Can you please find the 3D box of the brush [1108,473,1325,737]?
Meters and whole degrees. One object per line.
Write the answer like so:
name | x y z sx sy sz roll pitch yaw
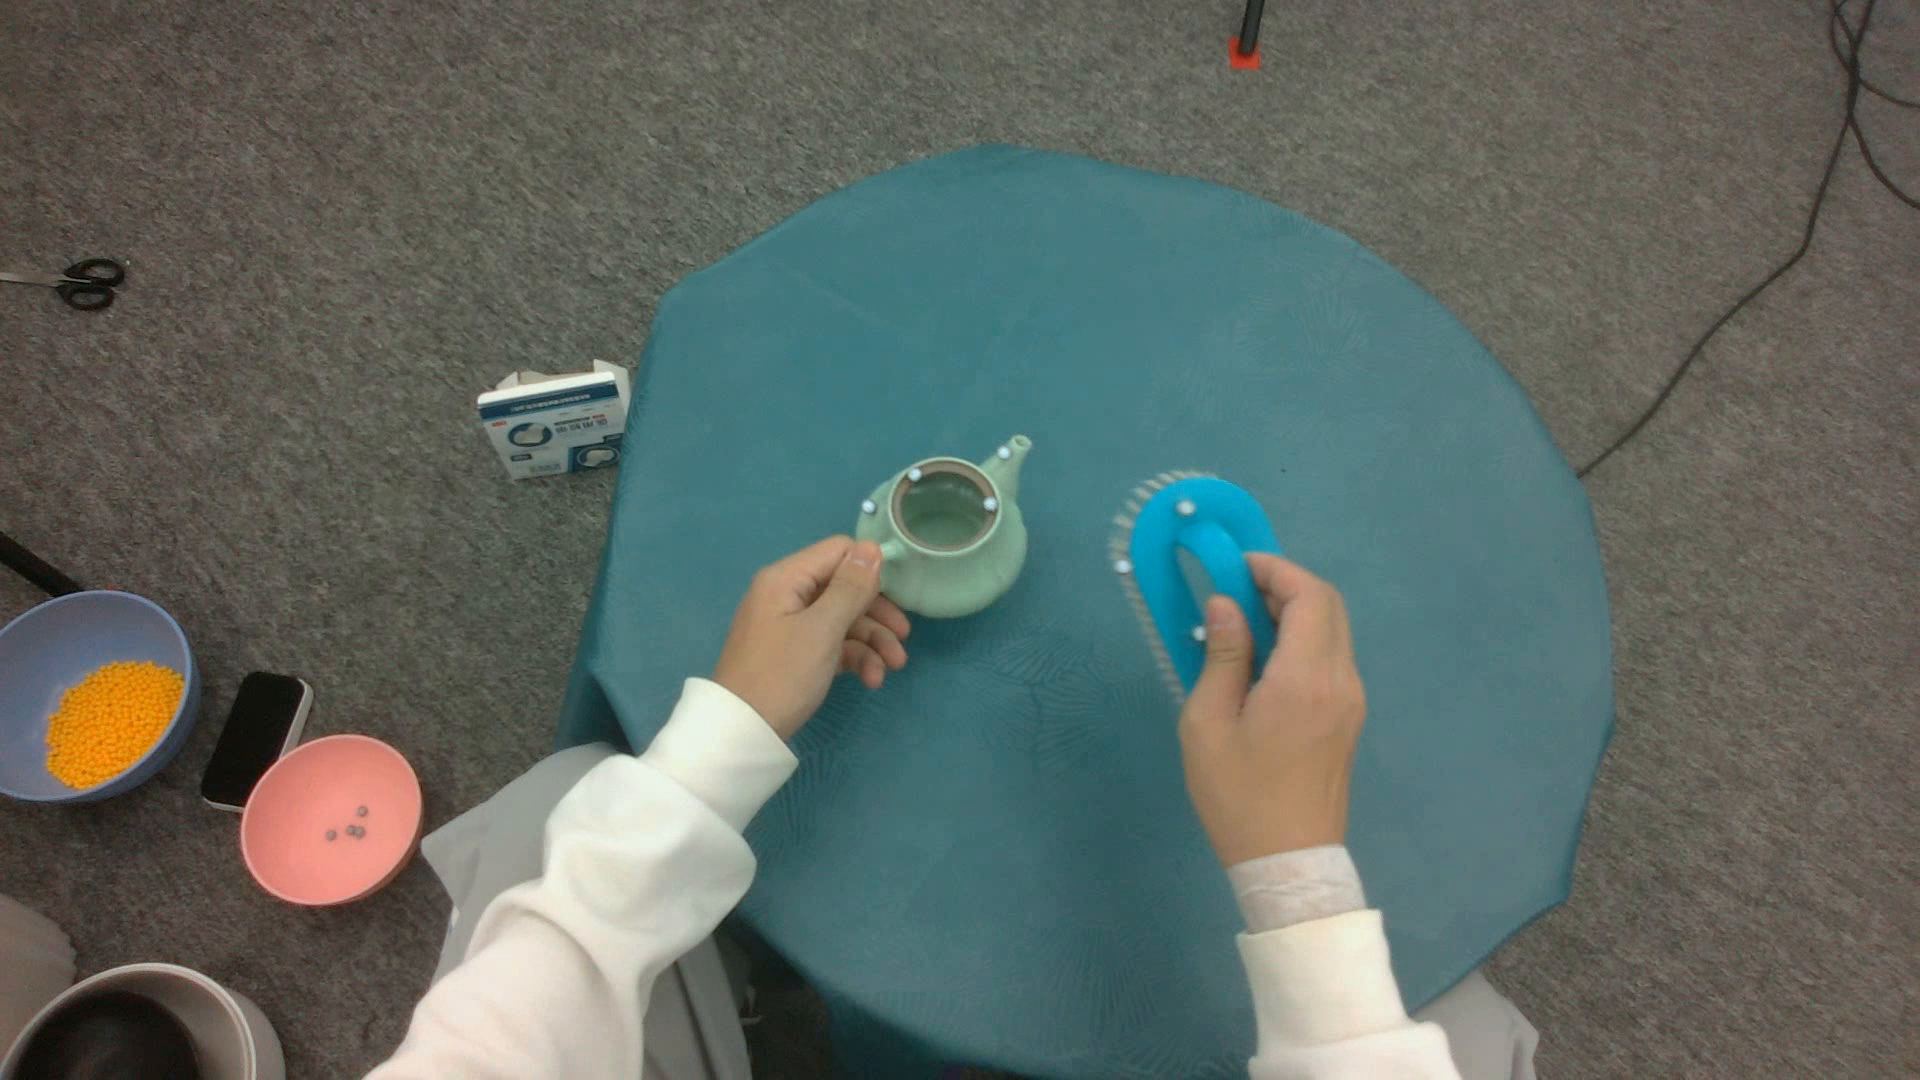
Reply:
brush | 0.135 0.031 0.684 0.084 0.064 0.141 -27 101 -12

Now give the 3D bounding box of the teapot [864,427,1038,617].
teapot | -0.006 -0.005 0.775 0.096 0.061 0.137 40 68 14
